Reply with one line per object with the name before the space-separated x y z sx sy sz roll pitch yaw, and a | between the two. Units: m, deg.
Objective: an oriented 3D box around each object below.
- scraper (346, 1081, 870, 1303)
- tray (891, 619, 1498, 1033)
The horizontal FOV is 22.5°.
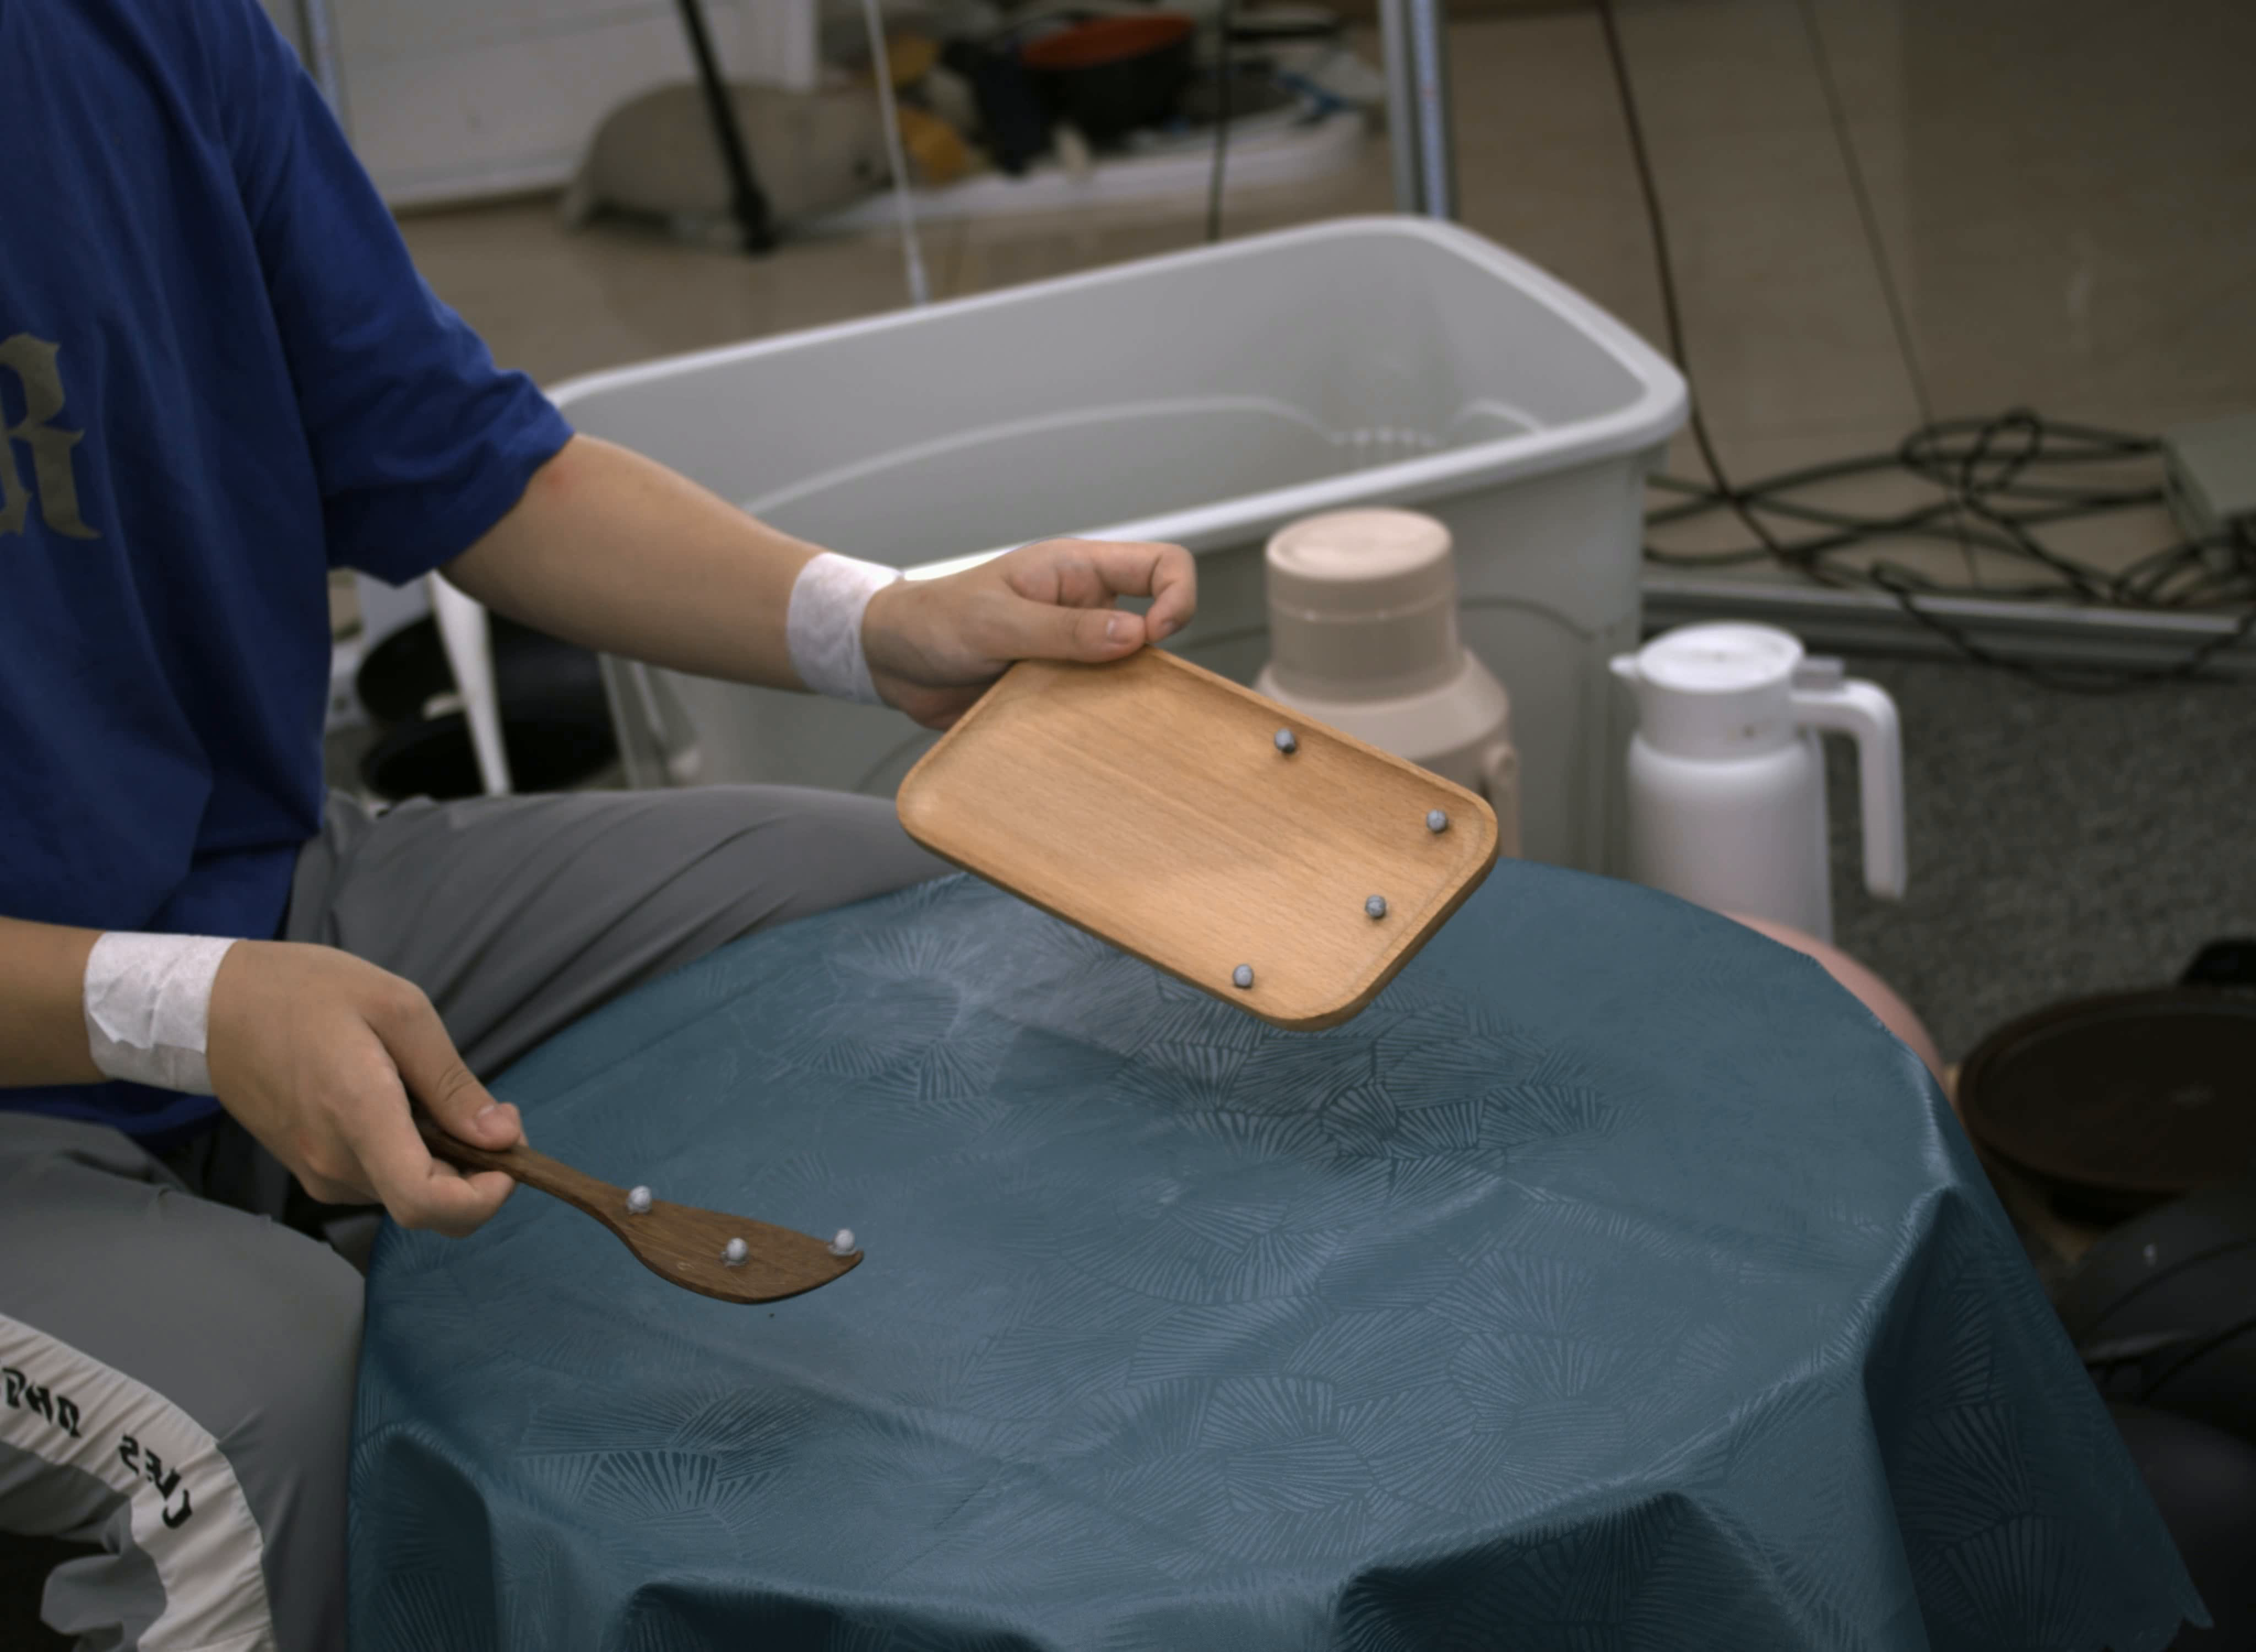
scraper | -0.193 0.129 2.034 0.210 0.011 0.075 20 21 25
tray | 0.024 -0.002 2.217 0.248 0.023 0.129 27 61 39
